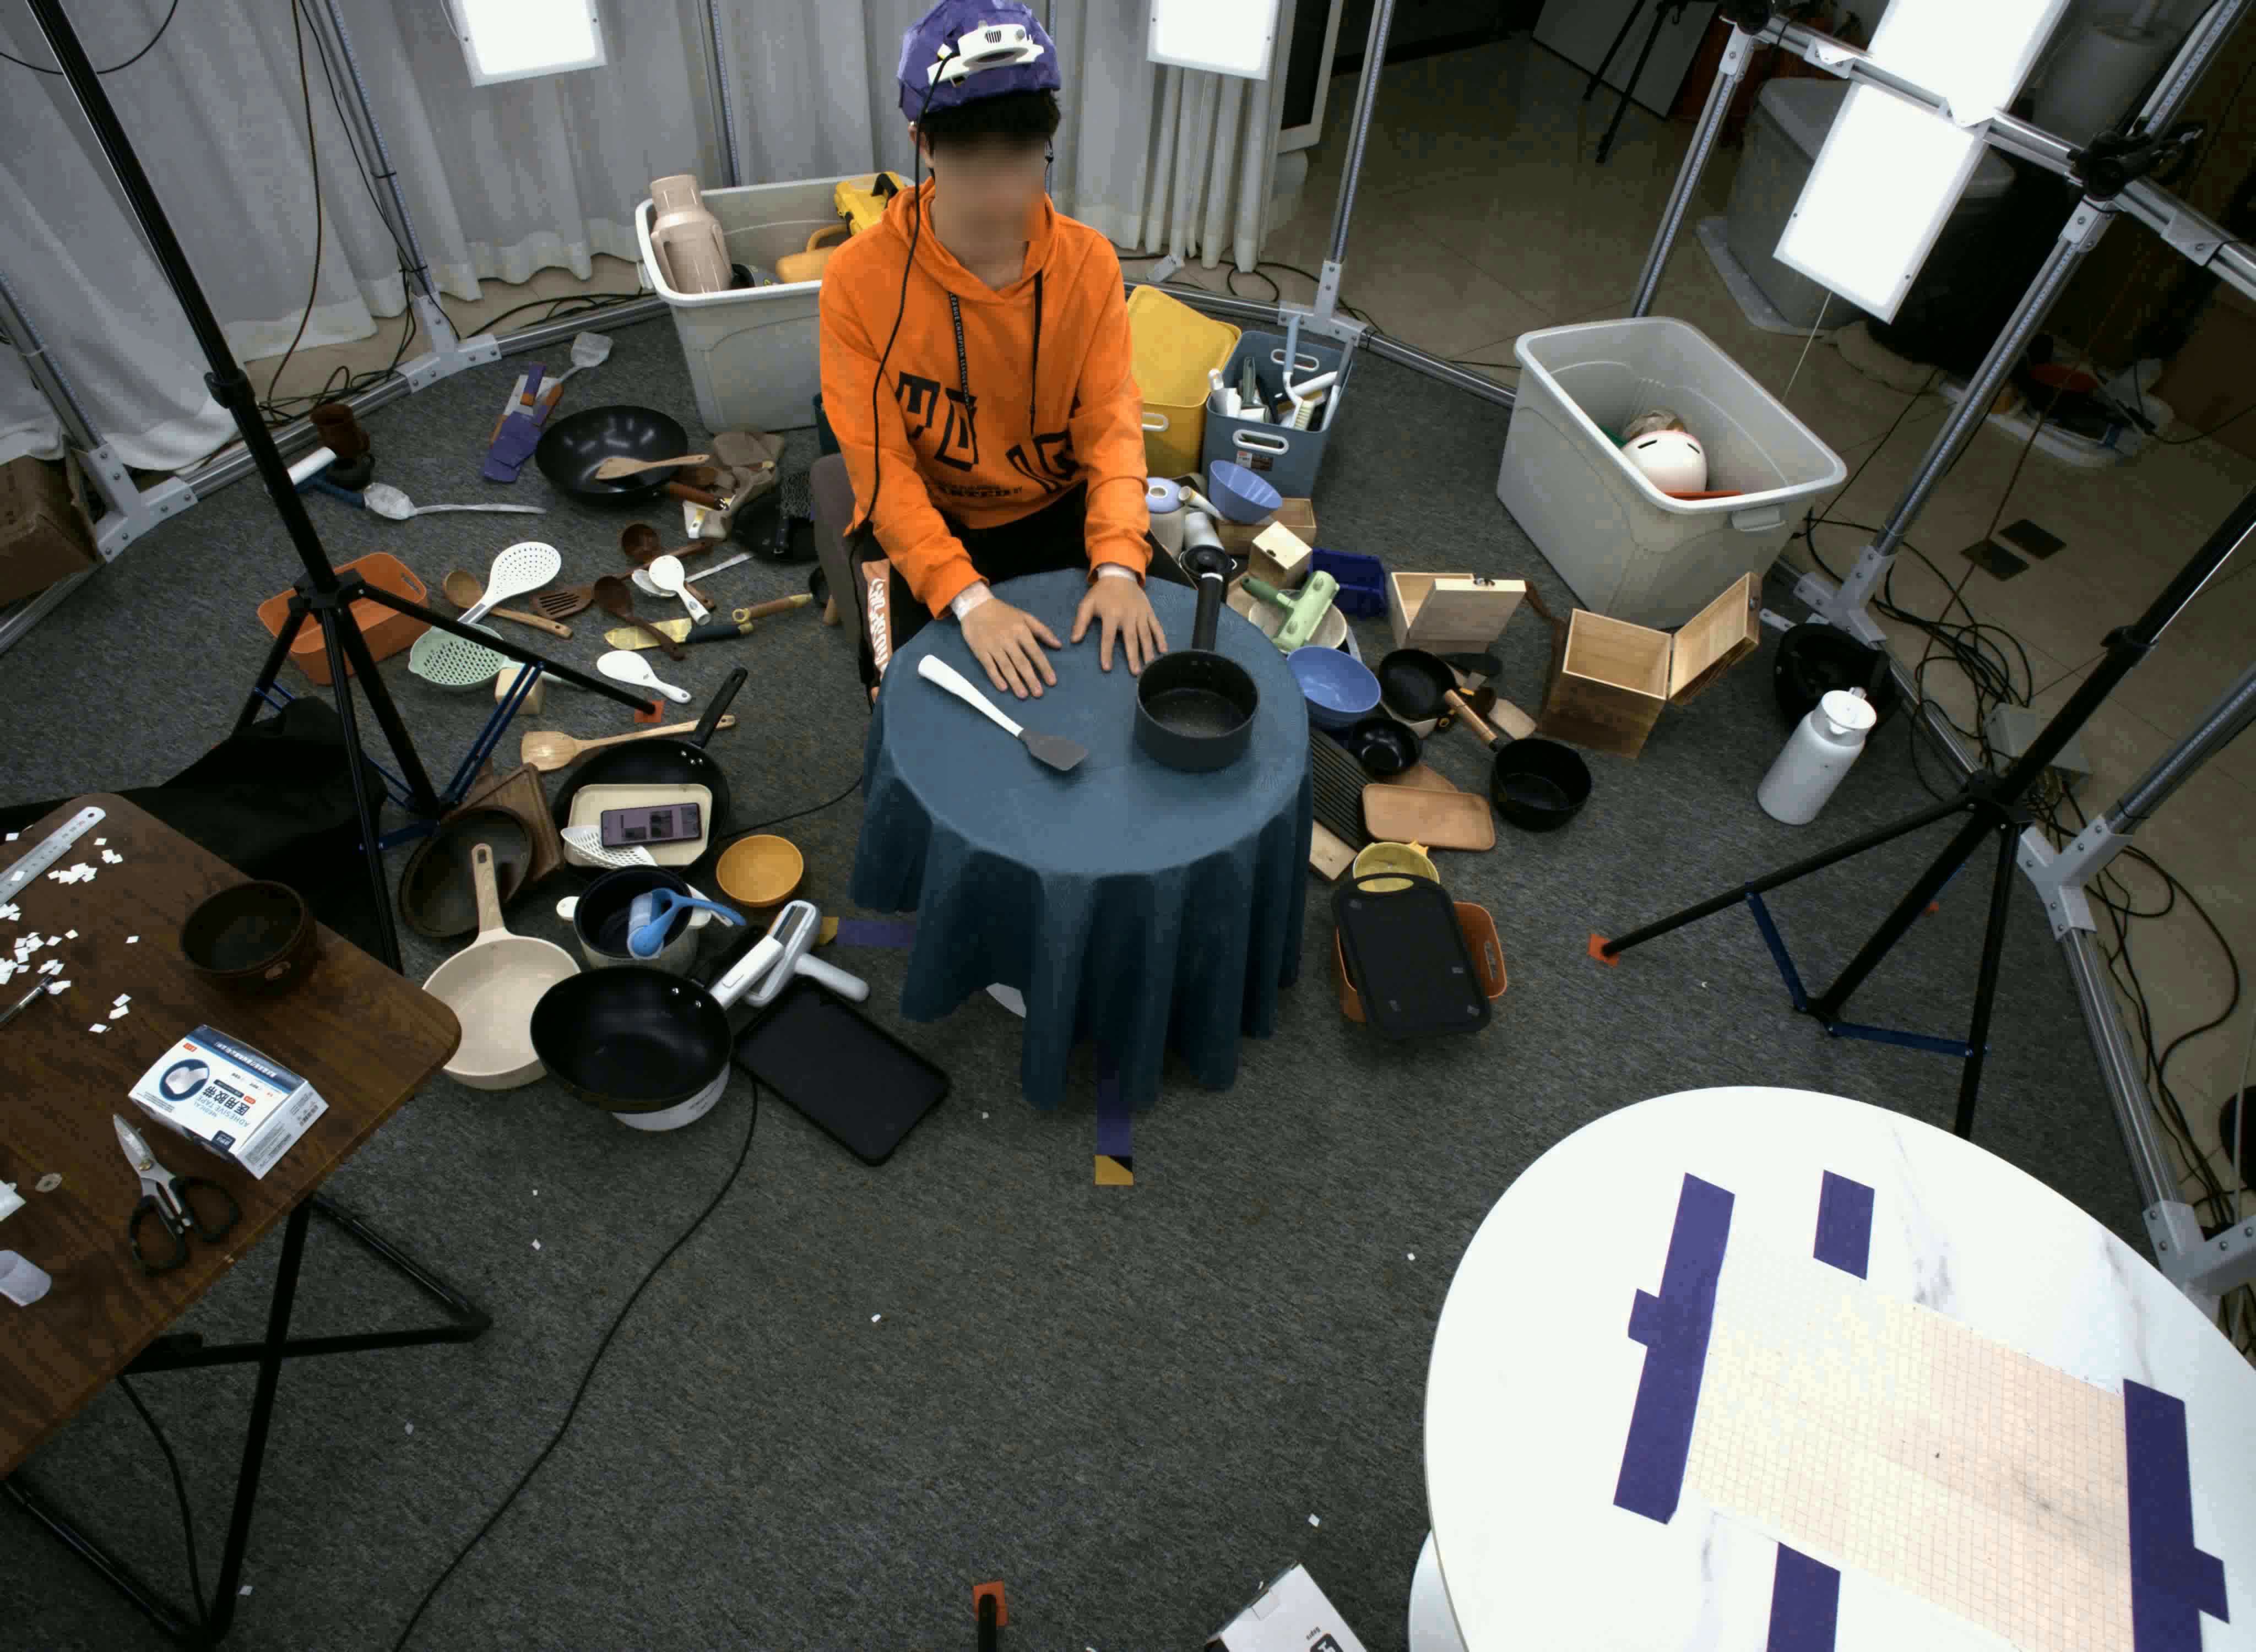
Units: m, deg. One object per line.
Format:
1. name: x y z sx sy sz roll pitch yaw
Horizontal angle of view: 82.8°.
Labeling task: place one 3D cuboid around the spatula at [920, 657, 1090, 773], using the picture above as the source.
1. spatula: -0.174 -0.152 1.769 0.291 0.031 0.059 34 50 24

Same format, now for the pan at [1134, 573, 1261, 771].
1. pan: 0.105 -0.221 1.813 0.172 0.084 0.336 10 51 4
